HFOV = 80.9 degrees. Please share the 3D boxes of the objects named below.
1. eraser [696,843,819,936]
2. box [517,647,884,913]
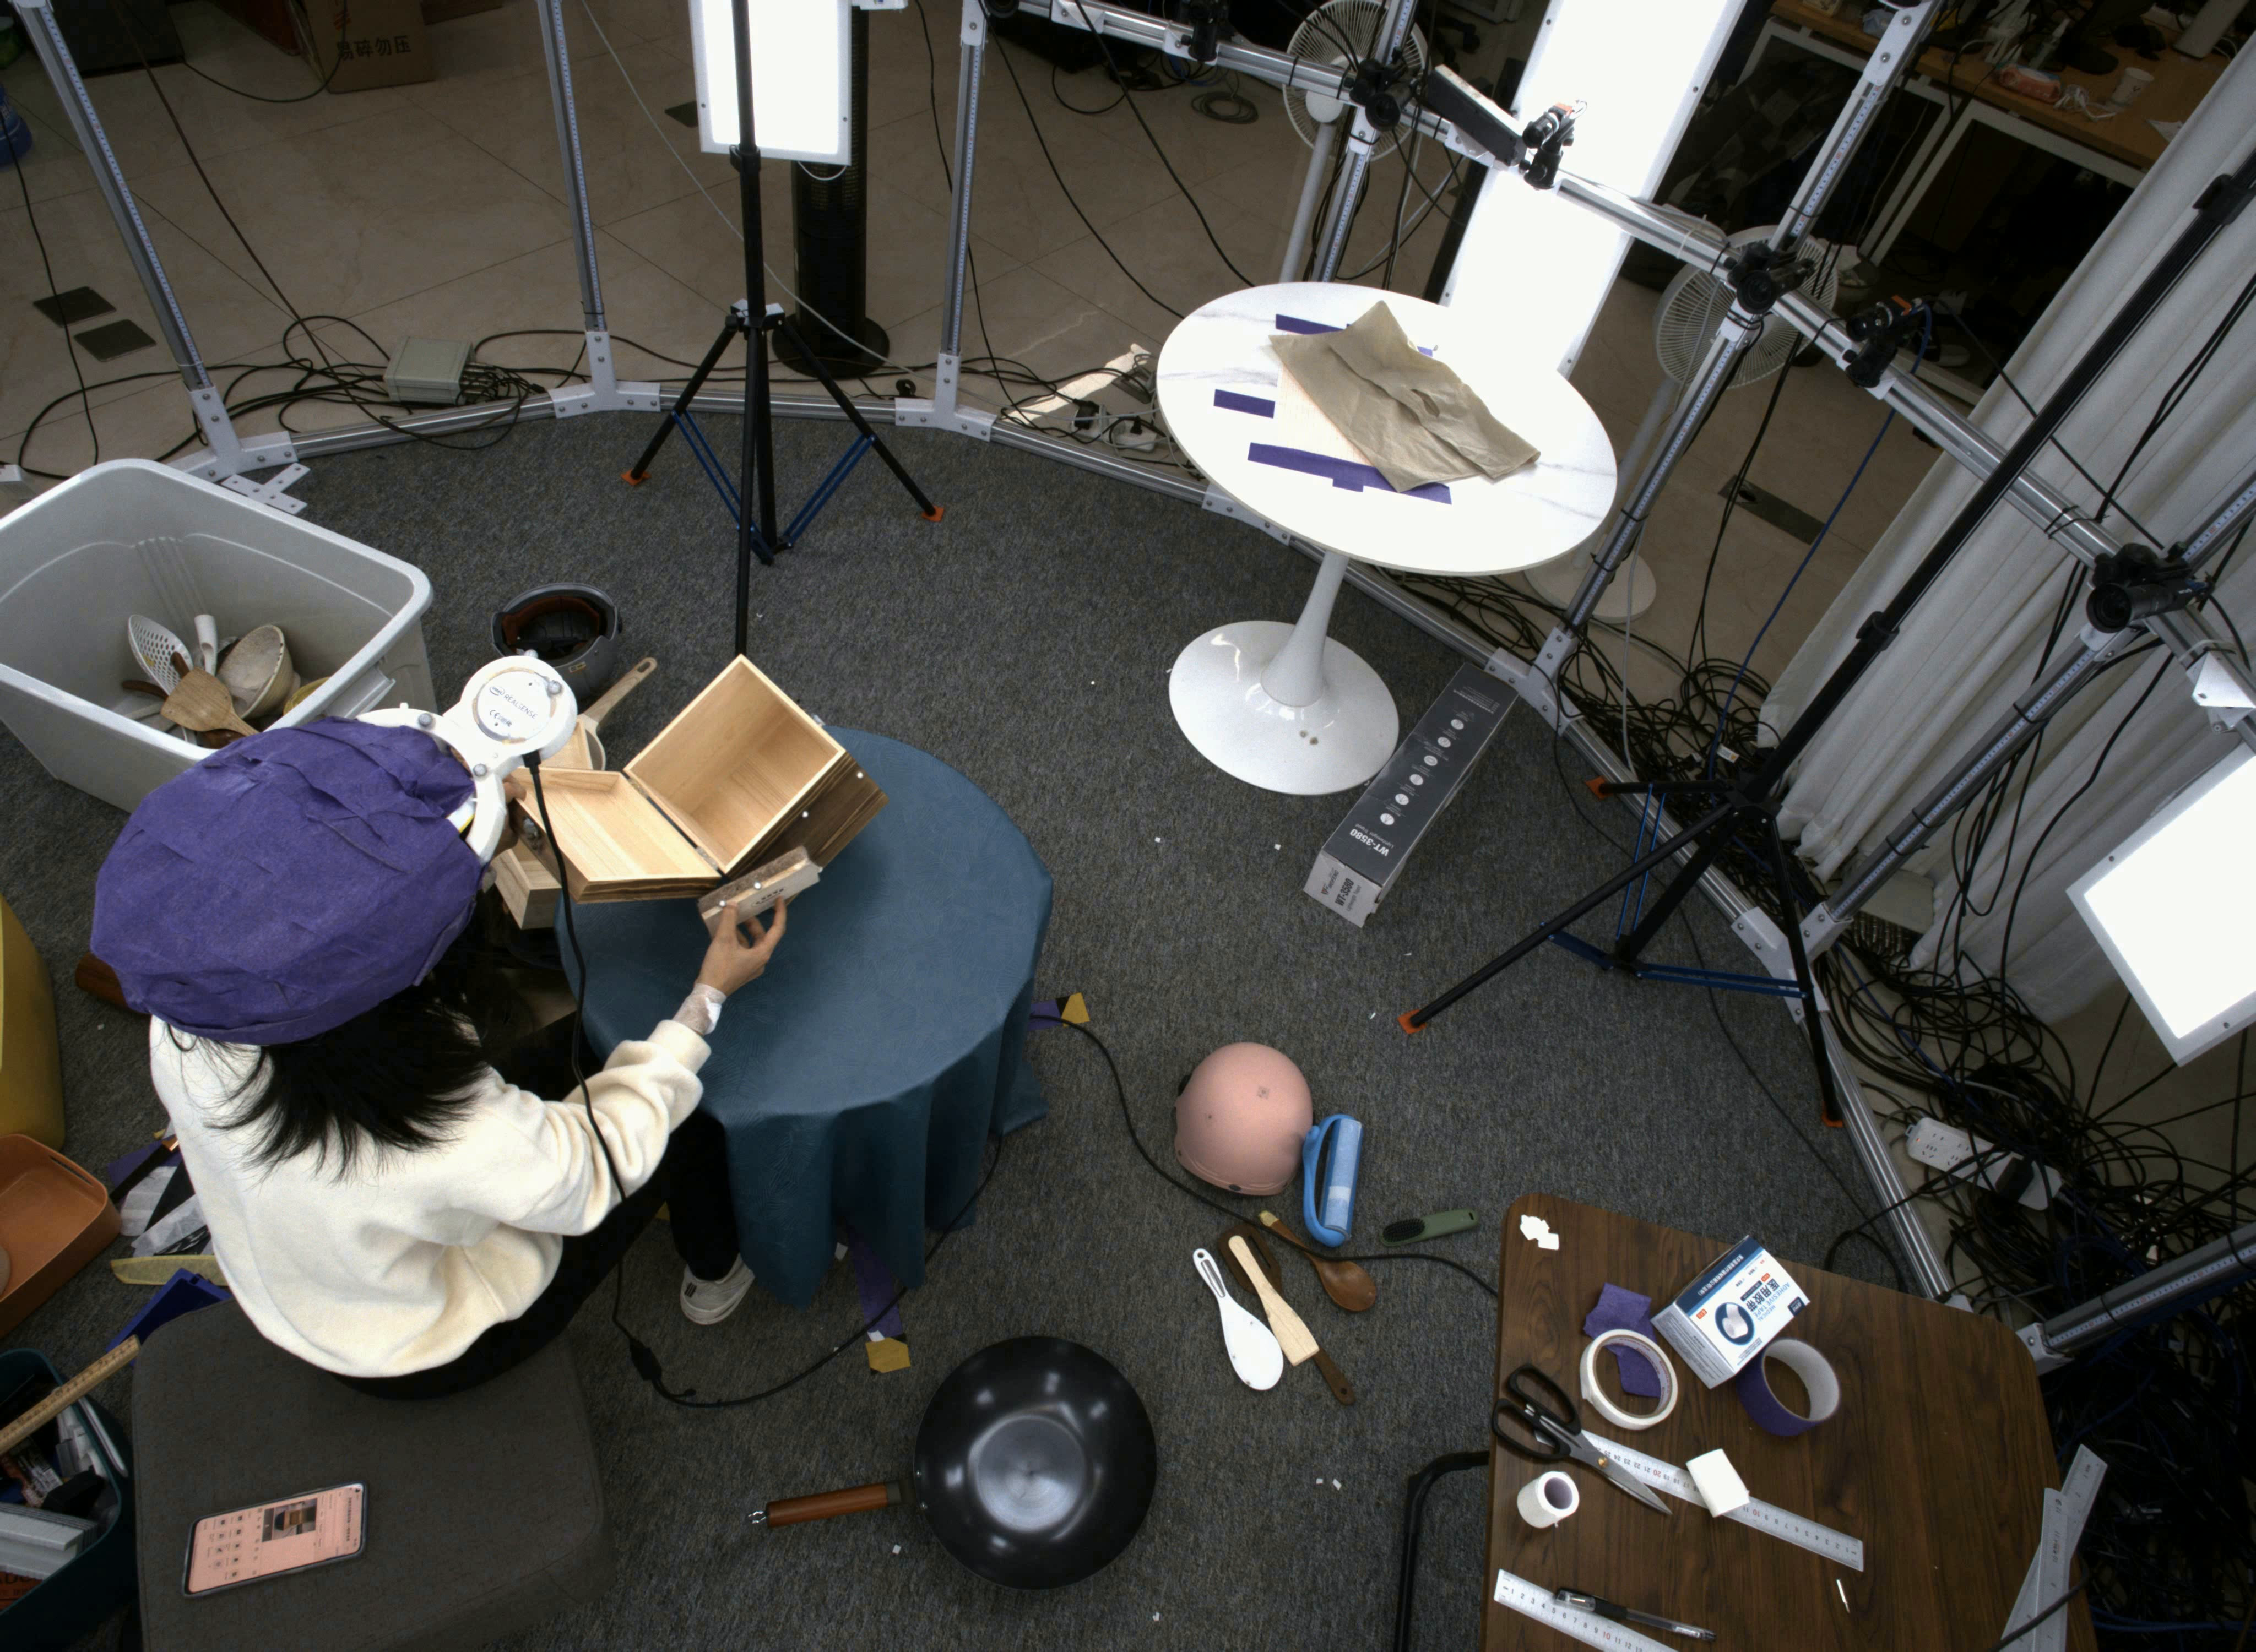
[{"bbox_3d":[-0.427,0.071,1.487,0.139,0.058,0.028,-28,69,-18],"label":"eraser"},{"bbox_3d":[-0.503,-0.049,1.494,0.204,0.383,0.322,39,79,17],"label":"box"}]
